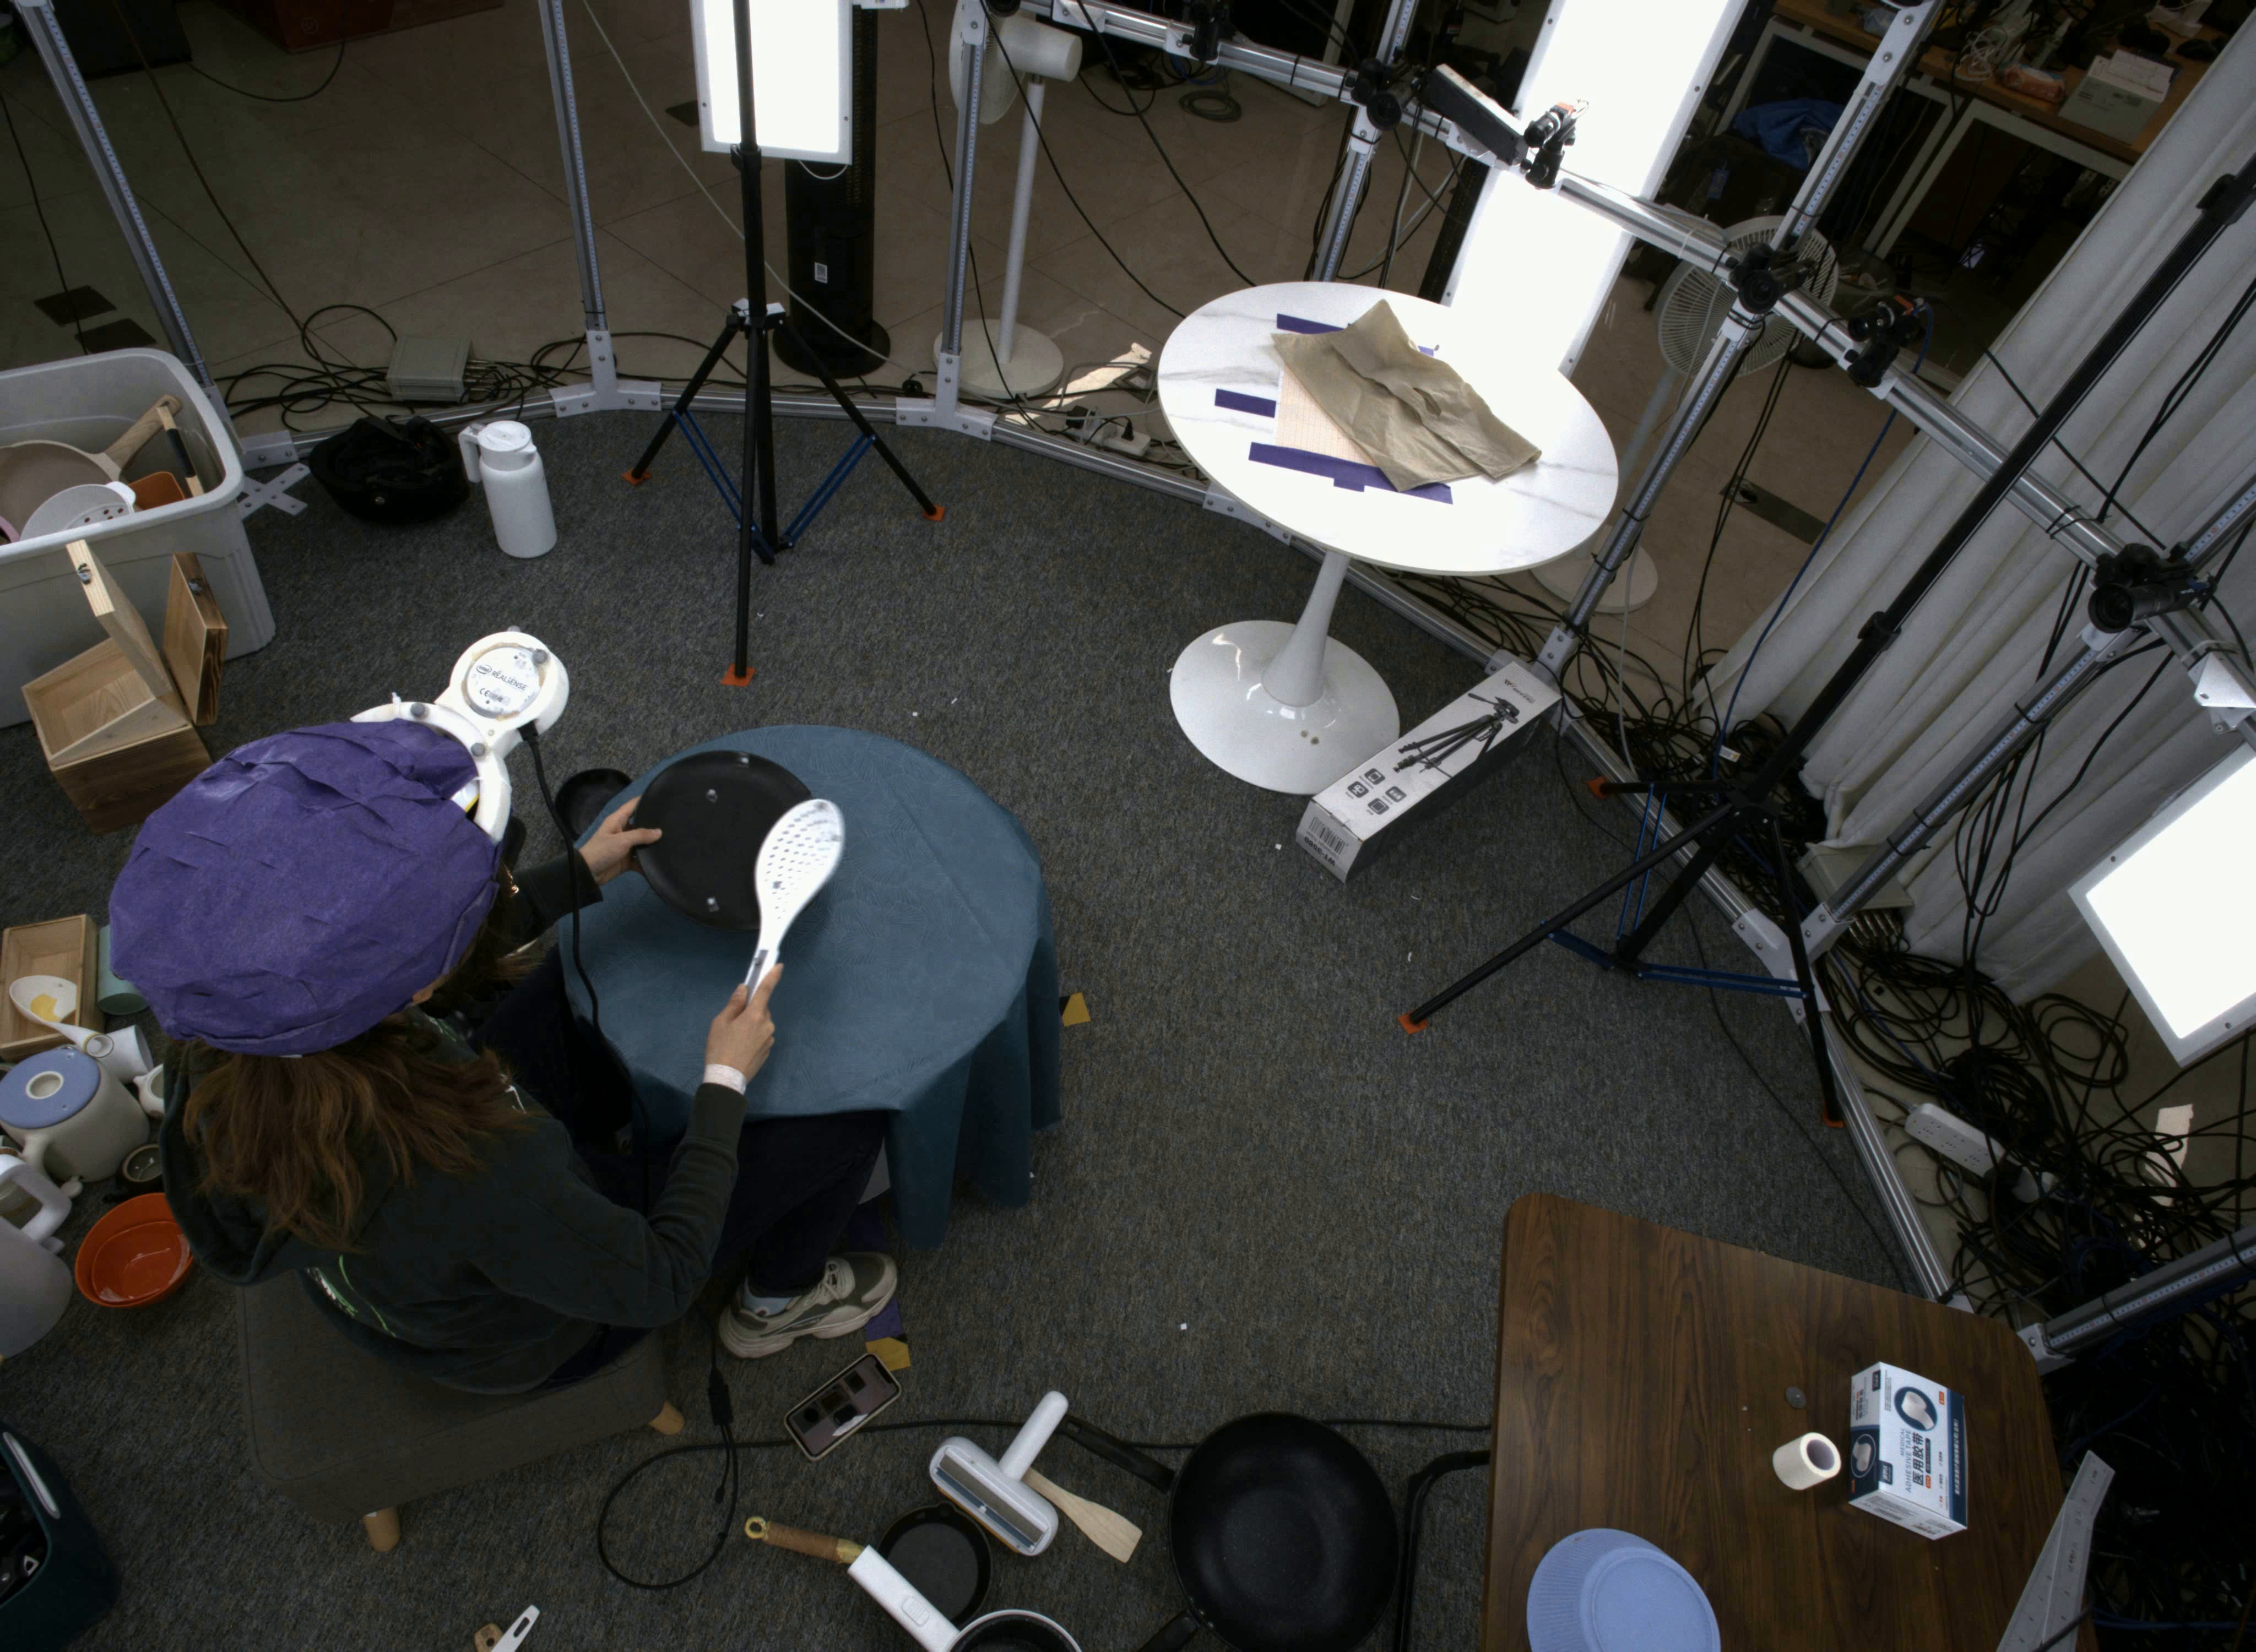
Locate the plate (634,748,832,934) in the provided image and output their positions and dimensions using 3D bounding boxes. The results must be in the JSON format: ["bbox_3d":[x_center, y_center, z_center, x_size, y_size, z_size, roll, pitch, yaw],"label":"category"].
[{"bbox_3d":[-0.483,0.018,1.584,0.249,0.023,0.241,16,61,-27],"label":"plate"}]

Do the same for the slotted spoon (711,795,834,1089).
[{"bbox_3d":[-0.415,0.127,1.490,0.132,0.047,0.348,-4,59,38],"label":"slotted spoon"}]
